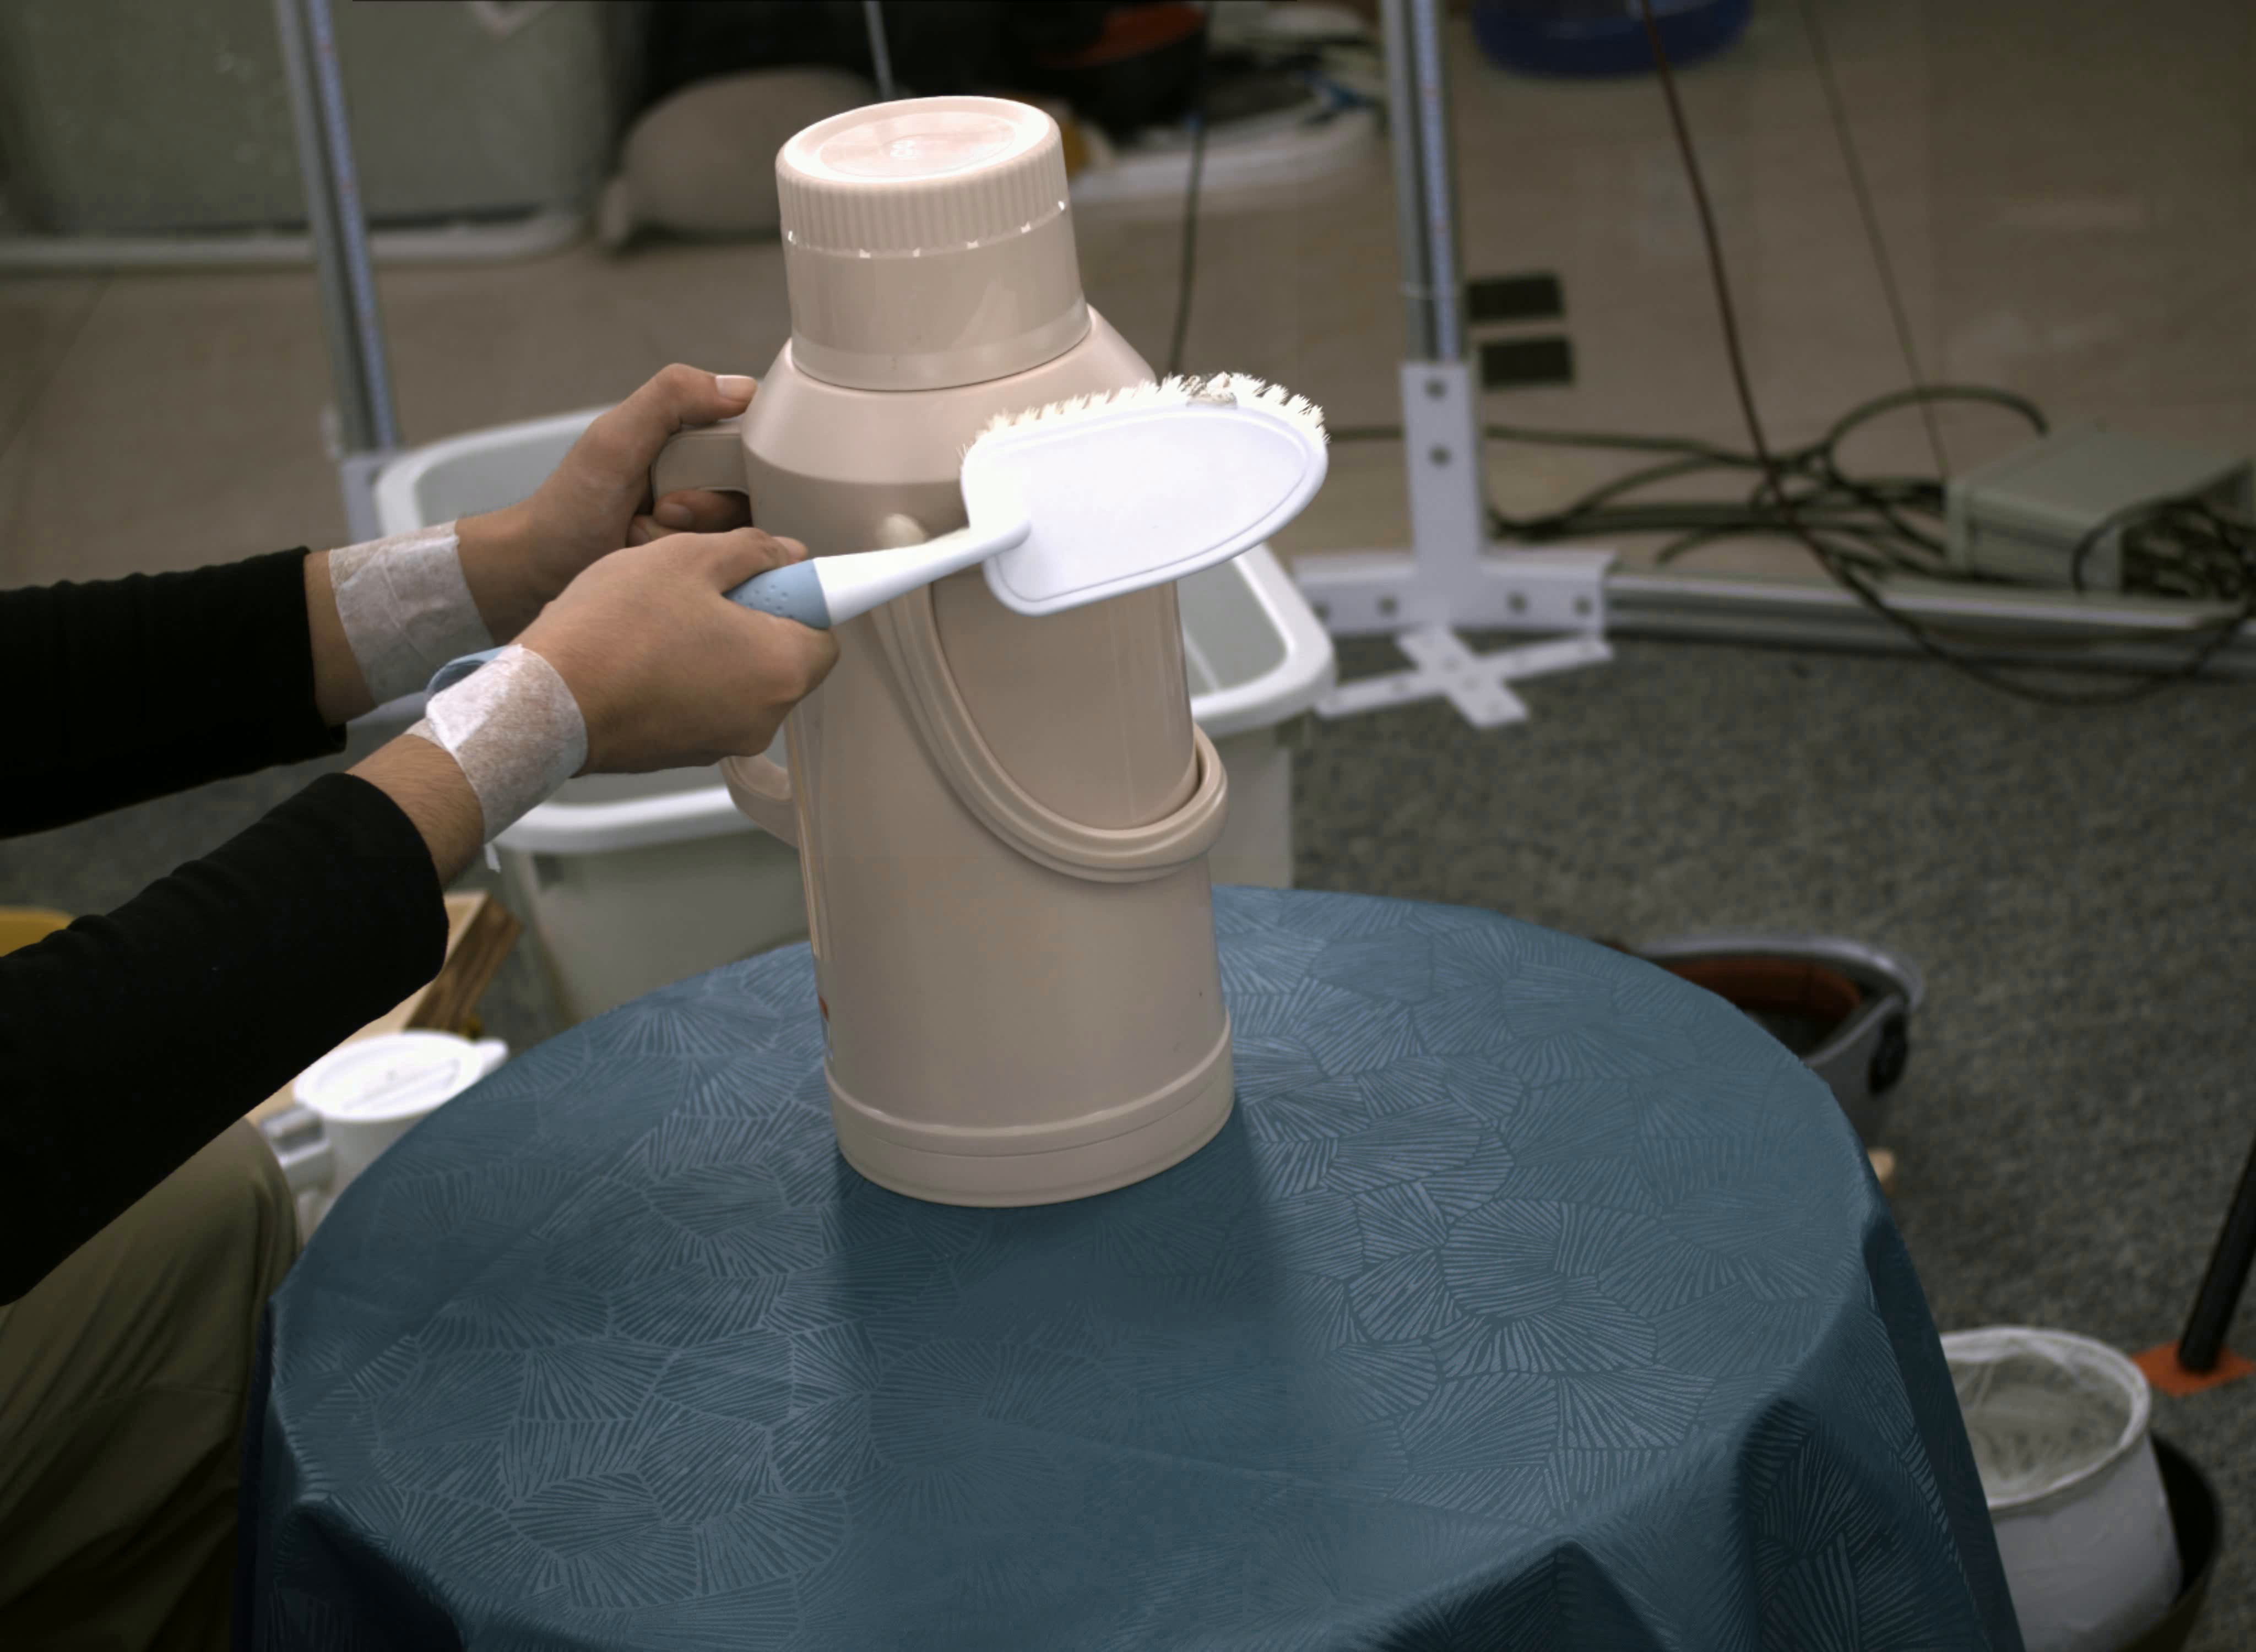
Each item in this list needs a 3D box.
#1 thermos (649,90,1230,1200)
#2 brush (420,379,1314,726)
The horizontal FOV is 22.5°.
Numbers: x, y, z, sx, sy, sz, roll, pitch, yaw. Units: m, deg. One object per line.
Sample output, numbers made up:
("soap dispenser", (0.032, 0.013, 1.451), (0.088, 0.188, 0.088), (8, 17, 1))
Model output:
("thermos", (-0.070, -0.070, 2.135), (0.206, 0.413, 0.173), (1, 28, 14))
("brush", (-0.092, -0.097, 1.986), (0.325, 0.086, 0.082), (-16, 65, -4))
